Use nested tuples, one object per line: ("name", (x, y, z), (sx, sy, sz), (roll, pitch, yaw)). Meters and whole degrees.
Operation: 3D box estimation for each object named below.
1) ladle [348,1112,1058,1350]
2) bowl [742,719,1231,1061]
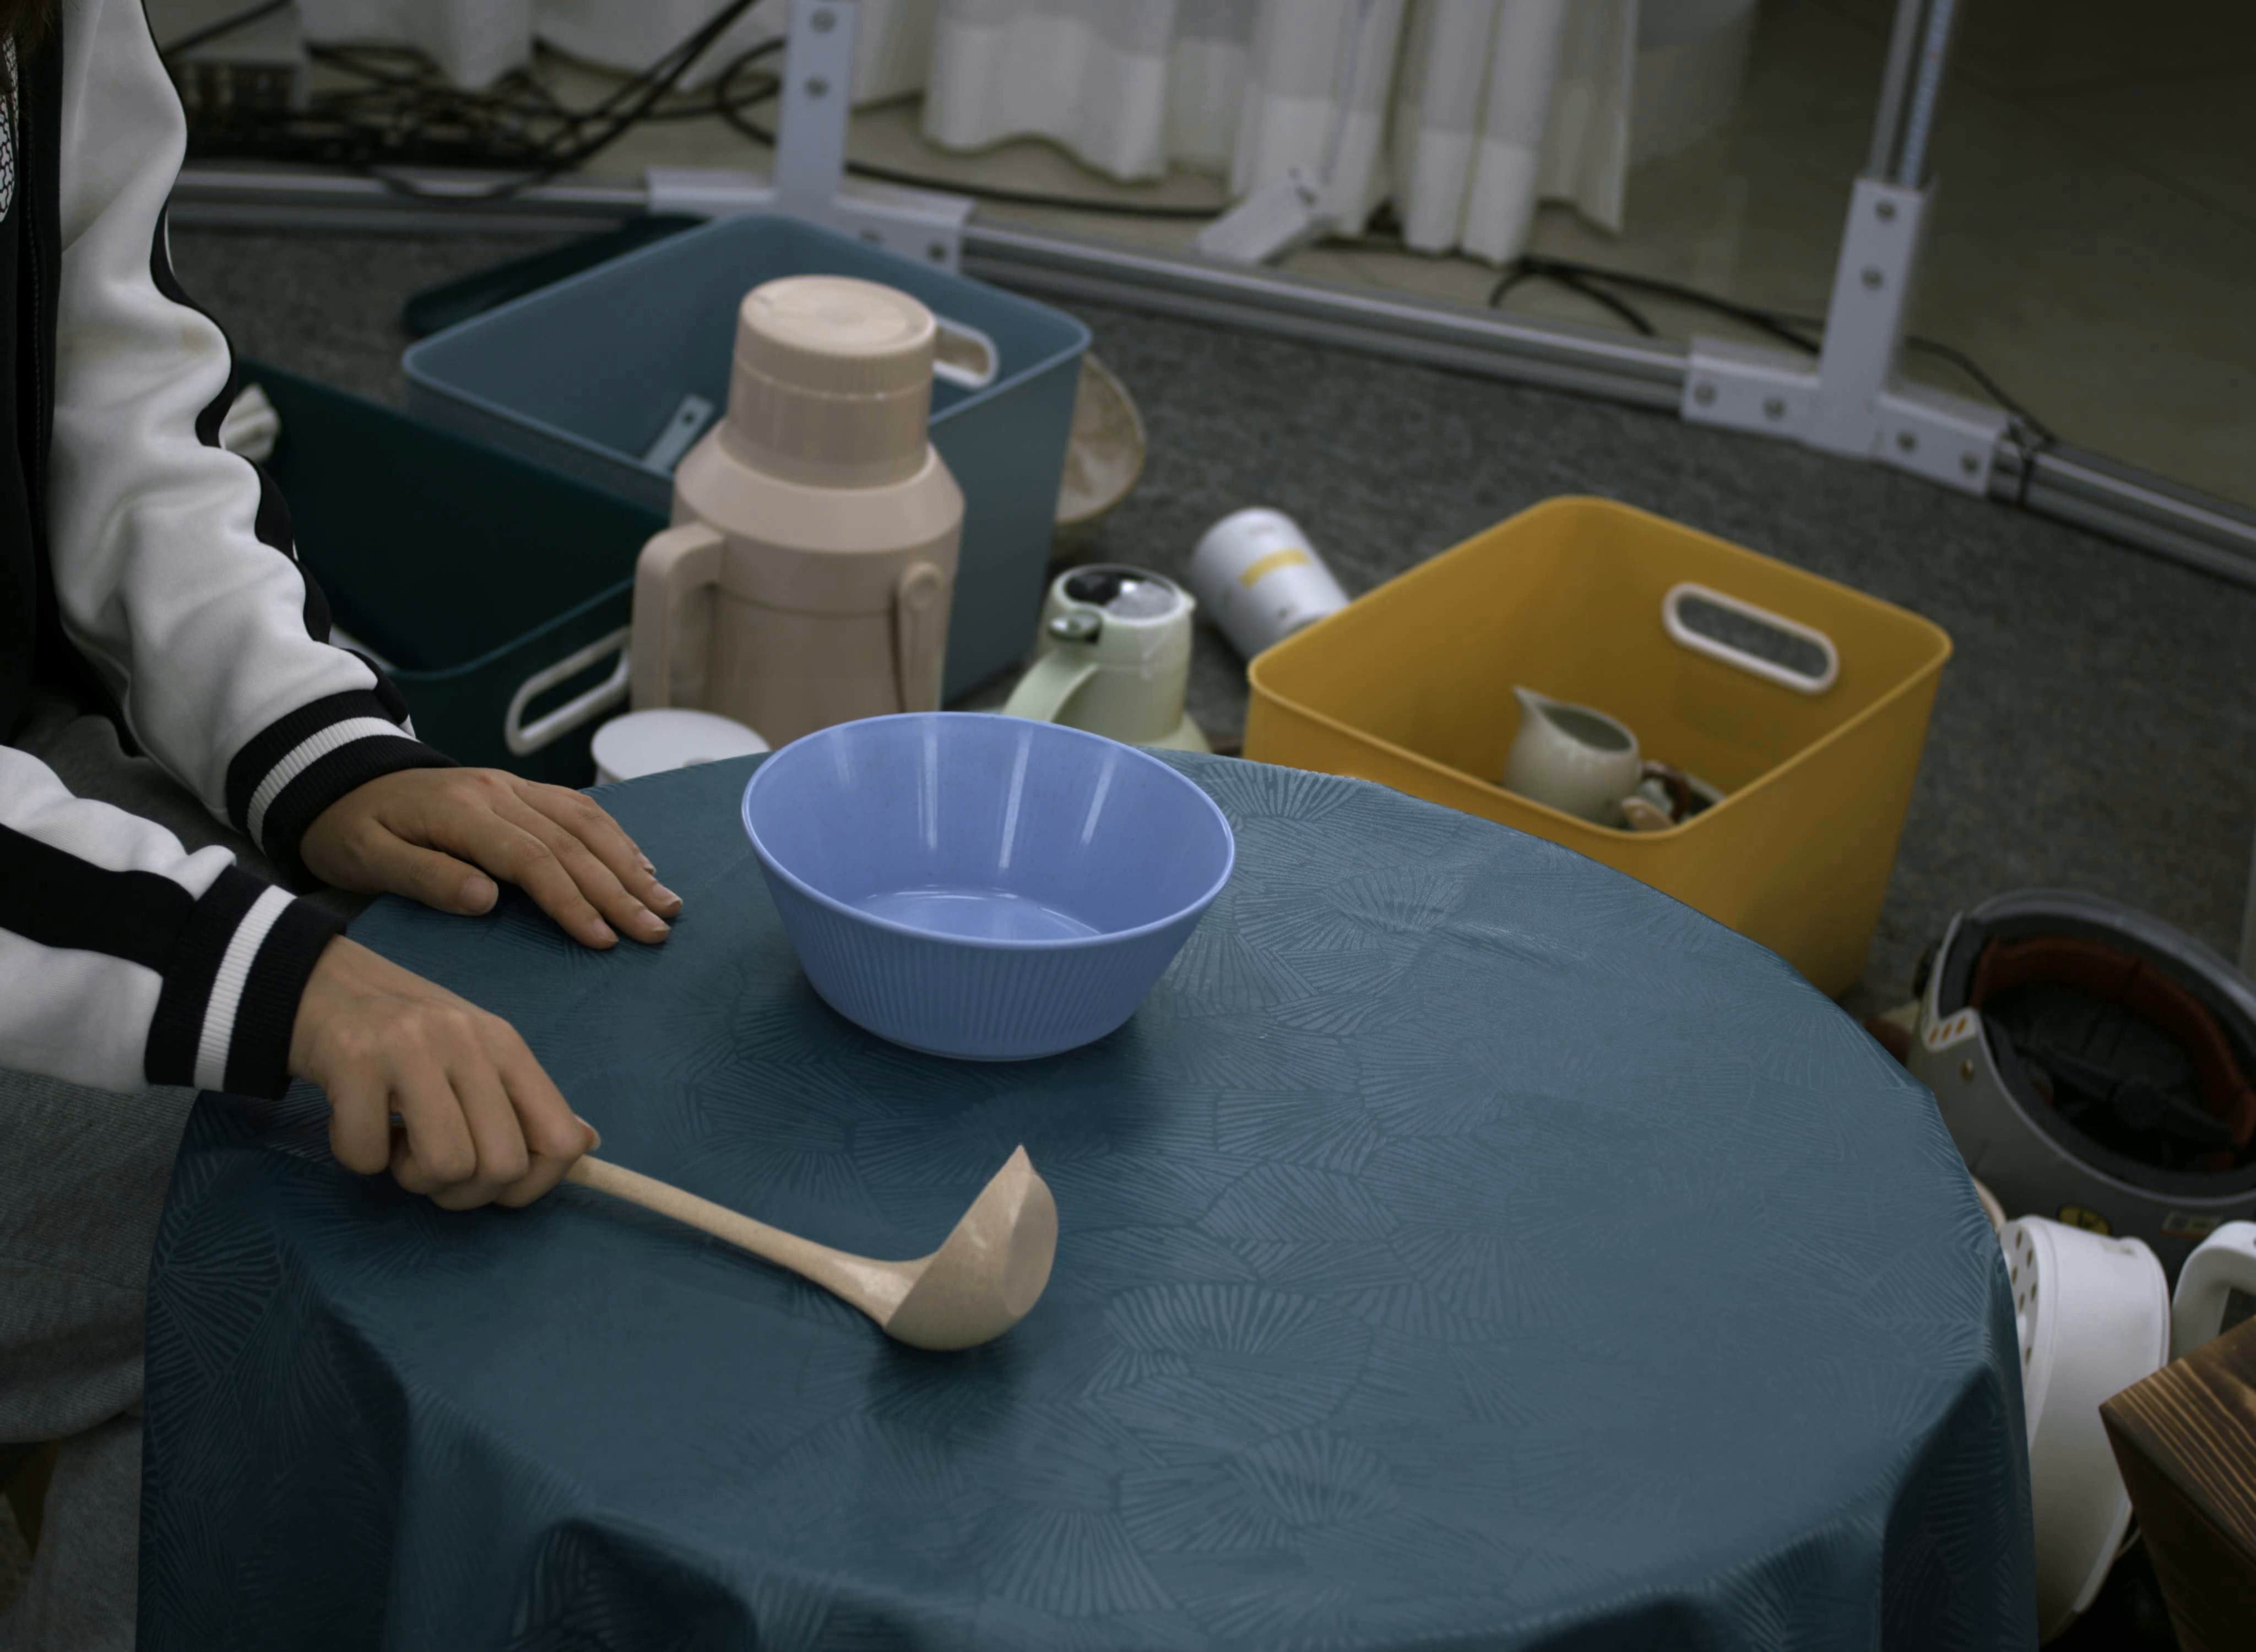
("ladle", (-0.144, 0.106, 1.725), (0.255, 0.072, 0.072), (16, 39, 19))
("bowl", (-0.053, 0.028, 1.900), (0.175, 0.070, 0.177), (6, 26, -3))
